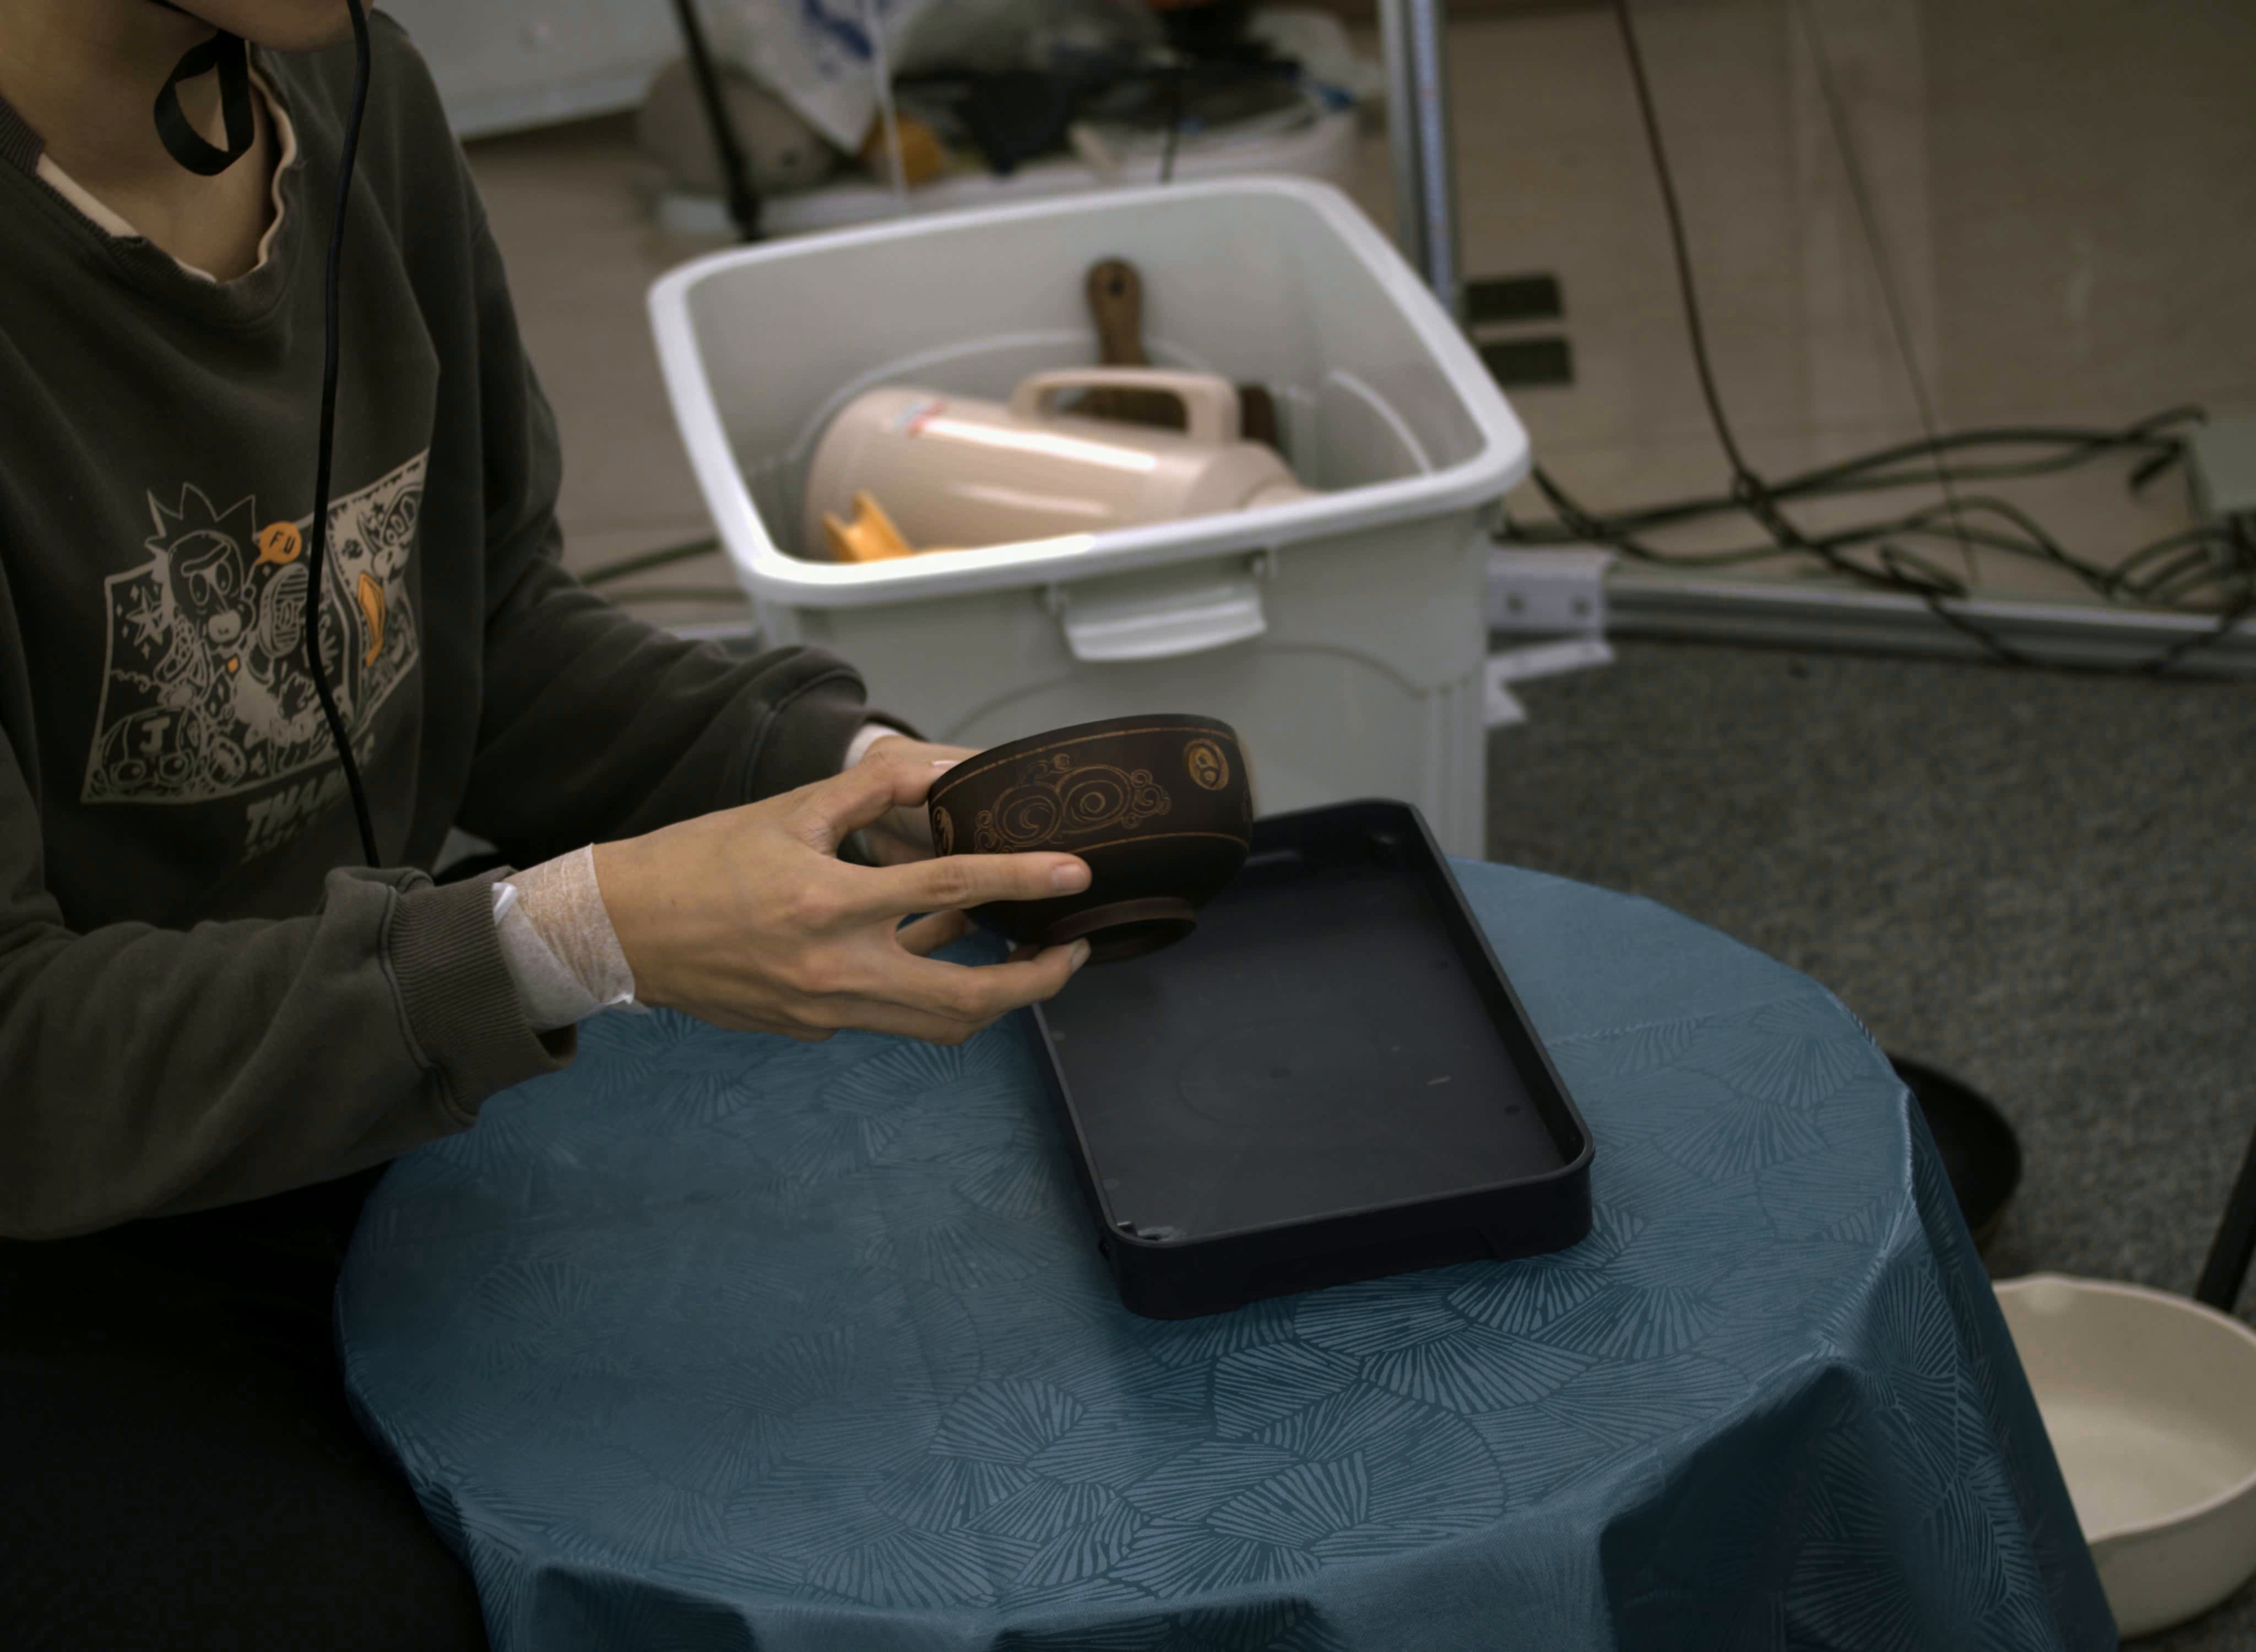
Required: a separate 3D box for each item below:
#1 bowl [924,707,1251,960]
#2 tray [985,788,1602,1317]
[{"bbox_3d":[-0.011,0.008,2.055,0.118,0.069,0.119,-14,-12,-3],"label":"bowl"},{"bbox_3d":[0.057,0.082,2.195,0.184,0.037,0.313,-11,29,-8],"label":"tray"}]
